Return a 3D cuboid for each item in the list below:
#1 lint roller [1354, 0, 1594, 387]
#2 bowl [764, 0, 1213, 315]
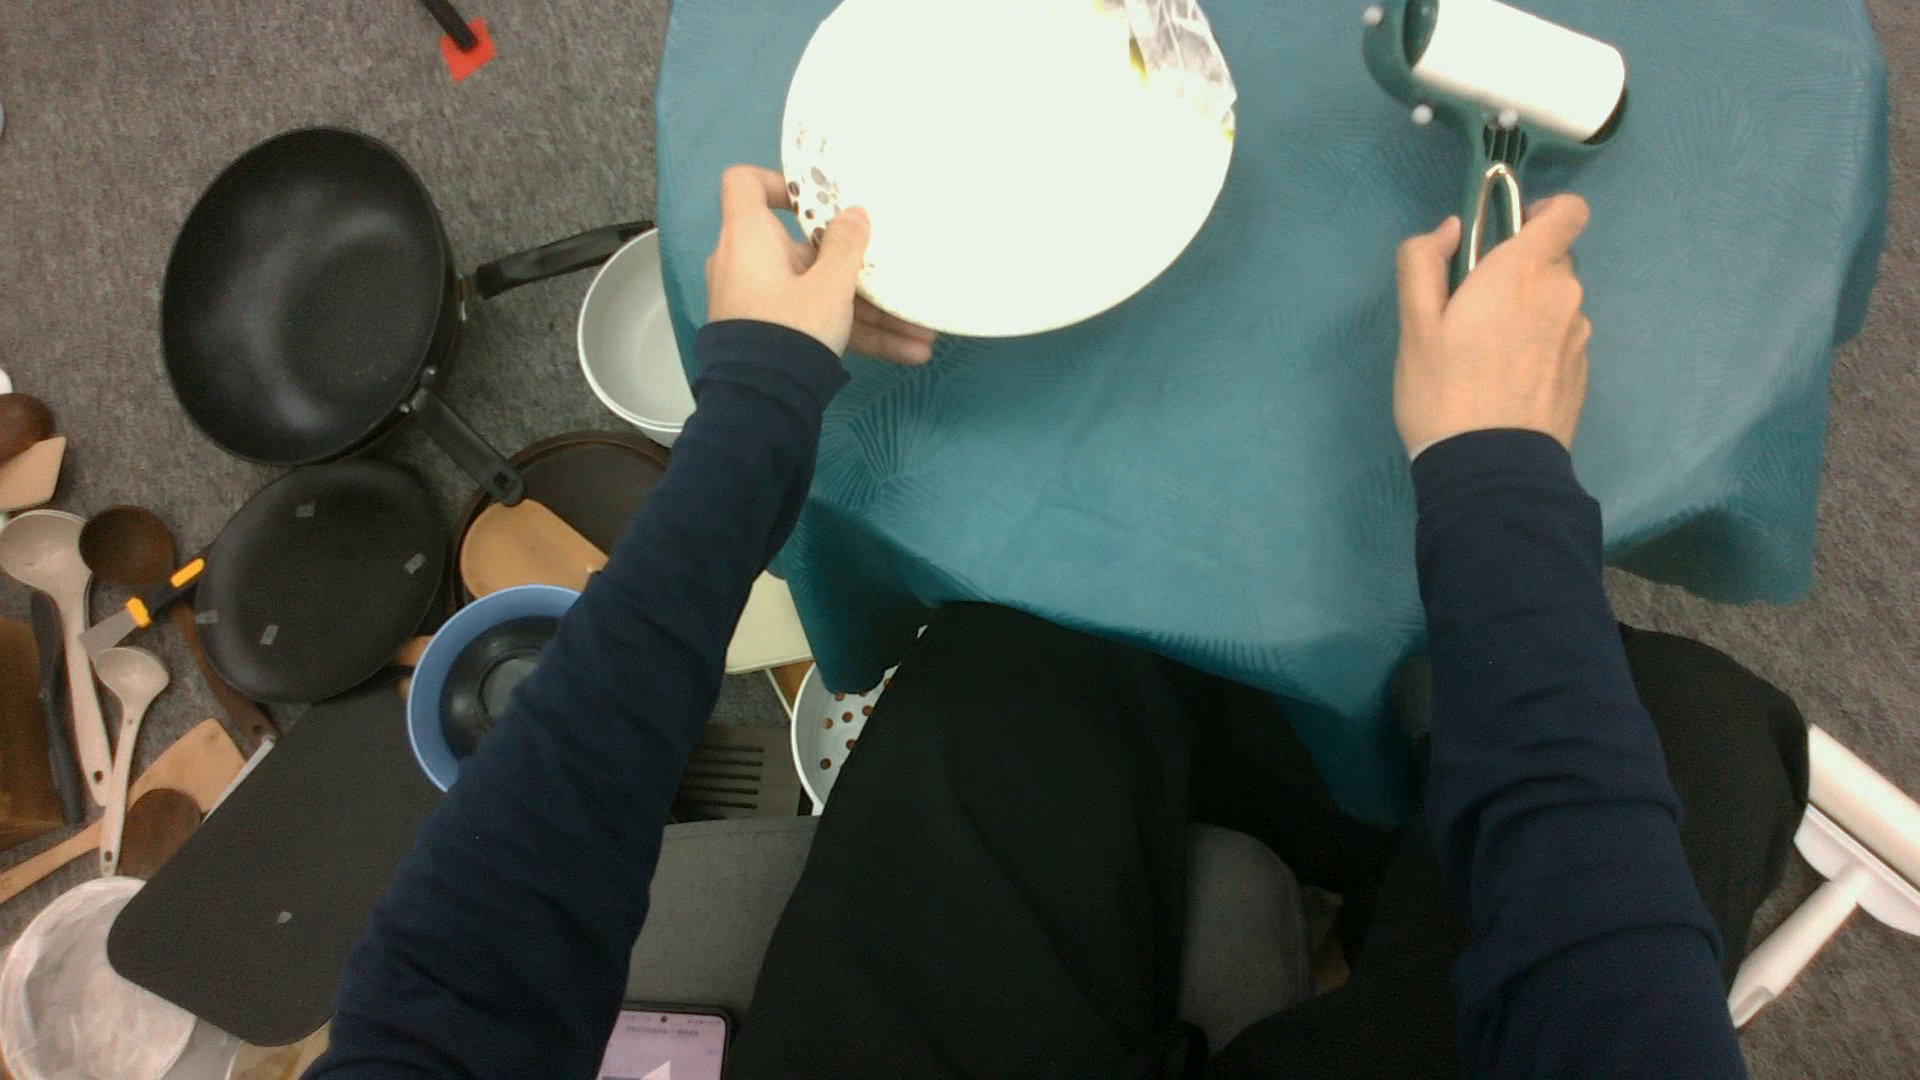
[{"bbox_3d":[0.227,-0.158,0.608,0.134,0.048,0.180,14,73,-28],"label":"lint roller"},{"bbox_3d":[0.015,-0.186,0.652,0.204,0.078,0.204,-2,74,7],"label":"bowl"}]
